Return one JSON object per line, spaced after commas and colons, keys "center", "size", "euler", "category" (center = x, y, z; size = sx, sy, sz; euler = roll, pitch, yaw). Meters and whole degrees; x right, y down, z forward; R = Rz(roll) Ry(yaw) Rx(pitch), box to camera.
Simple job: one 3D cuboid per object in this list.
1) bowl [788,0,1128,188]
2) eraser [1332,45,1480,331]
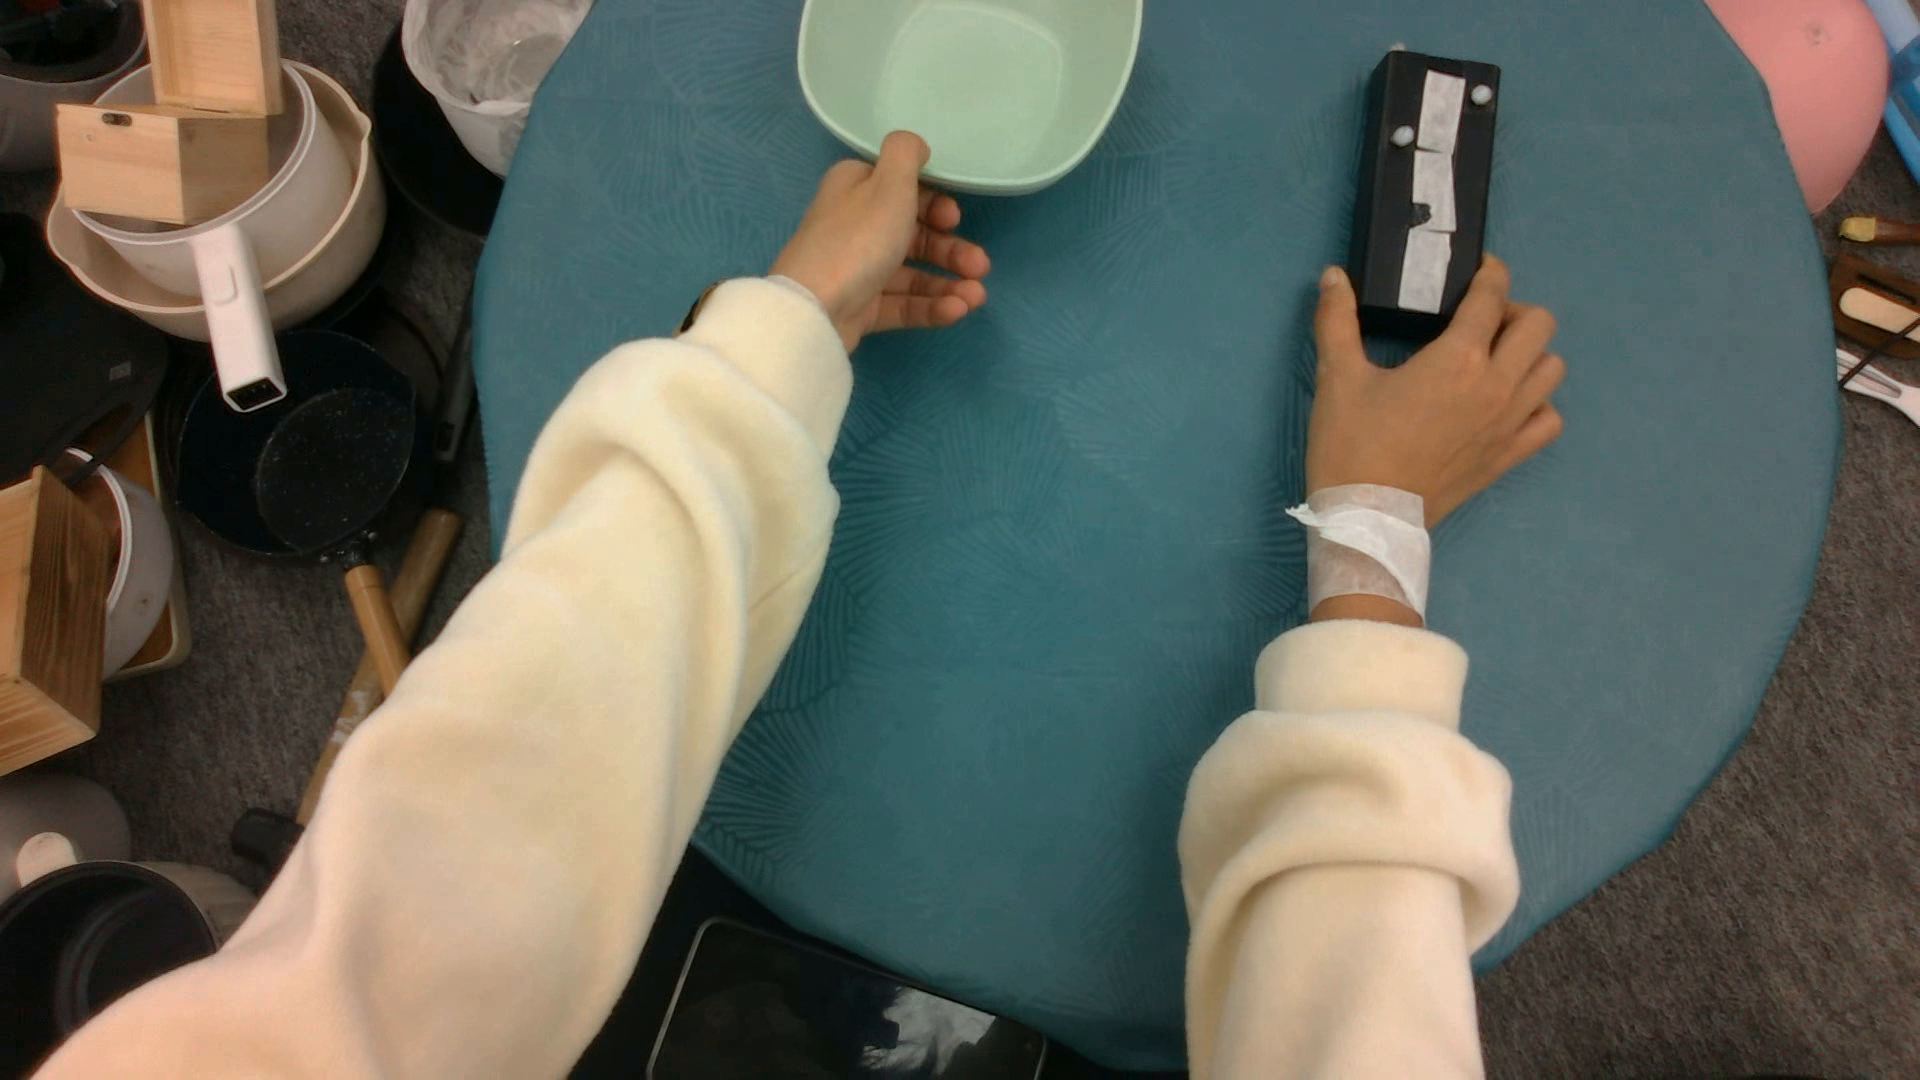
{"center": [0.000, -0.211, 0.605], "size": [0.151, 0.058, 0.152], "euler": [0, 77, 1], "category": "bowl"}
{"center": [0.197, -0.157, 0.611], "size": [0.053, 0.030, 0.126], "euler": [7, 80, 2], "category": "eraser"}
